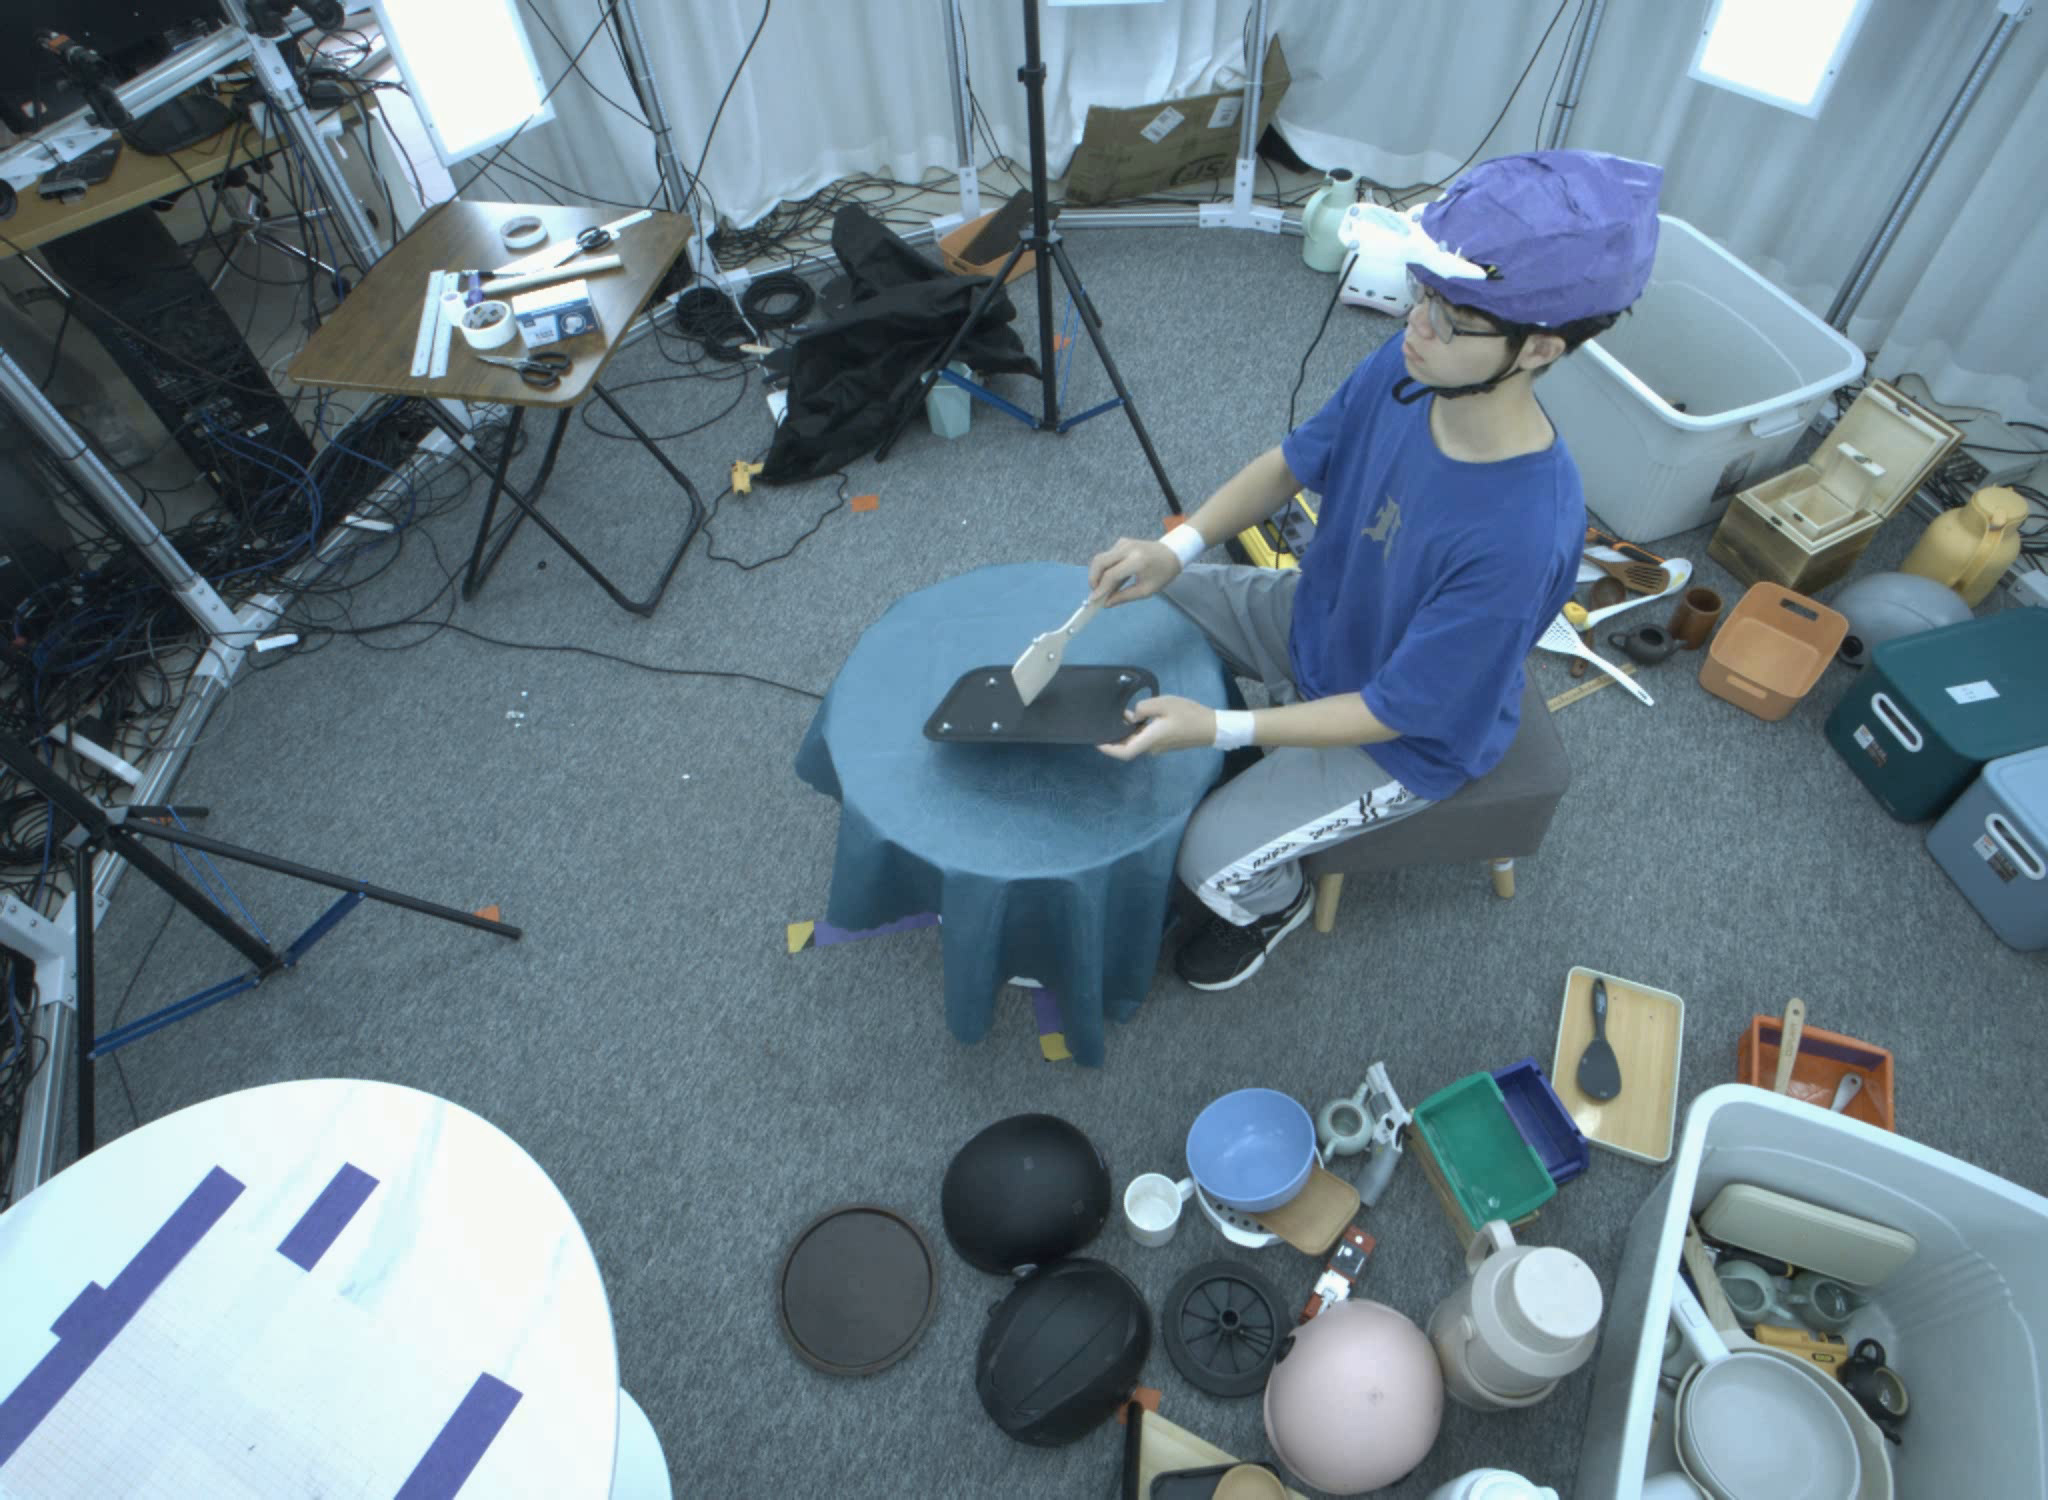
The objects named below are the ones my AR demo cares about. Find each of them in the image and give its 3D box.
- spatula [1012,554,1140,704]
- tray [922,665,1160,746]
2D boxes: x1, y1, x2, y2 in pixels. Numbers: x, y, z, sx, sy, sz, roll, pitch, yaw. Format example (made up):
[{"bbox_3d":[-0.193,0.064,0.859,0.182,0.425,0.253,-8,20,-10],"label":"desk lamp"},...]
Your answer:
[{"bbox_3d":[0.079,-0.186,1.766,0.010,0.073,0.294,21,58,38],"label":"spatula"},{"bbox_3d":[0.029,-0.068,1.725,0.321,0.010,0.211,2,34,21],"label":"tray"}]
